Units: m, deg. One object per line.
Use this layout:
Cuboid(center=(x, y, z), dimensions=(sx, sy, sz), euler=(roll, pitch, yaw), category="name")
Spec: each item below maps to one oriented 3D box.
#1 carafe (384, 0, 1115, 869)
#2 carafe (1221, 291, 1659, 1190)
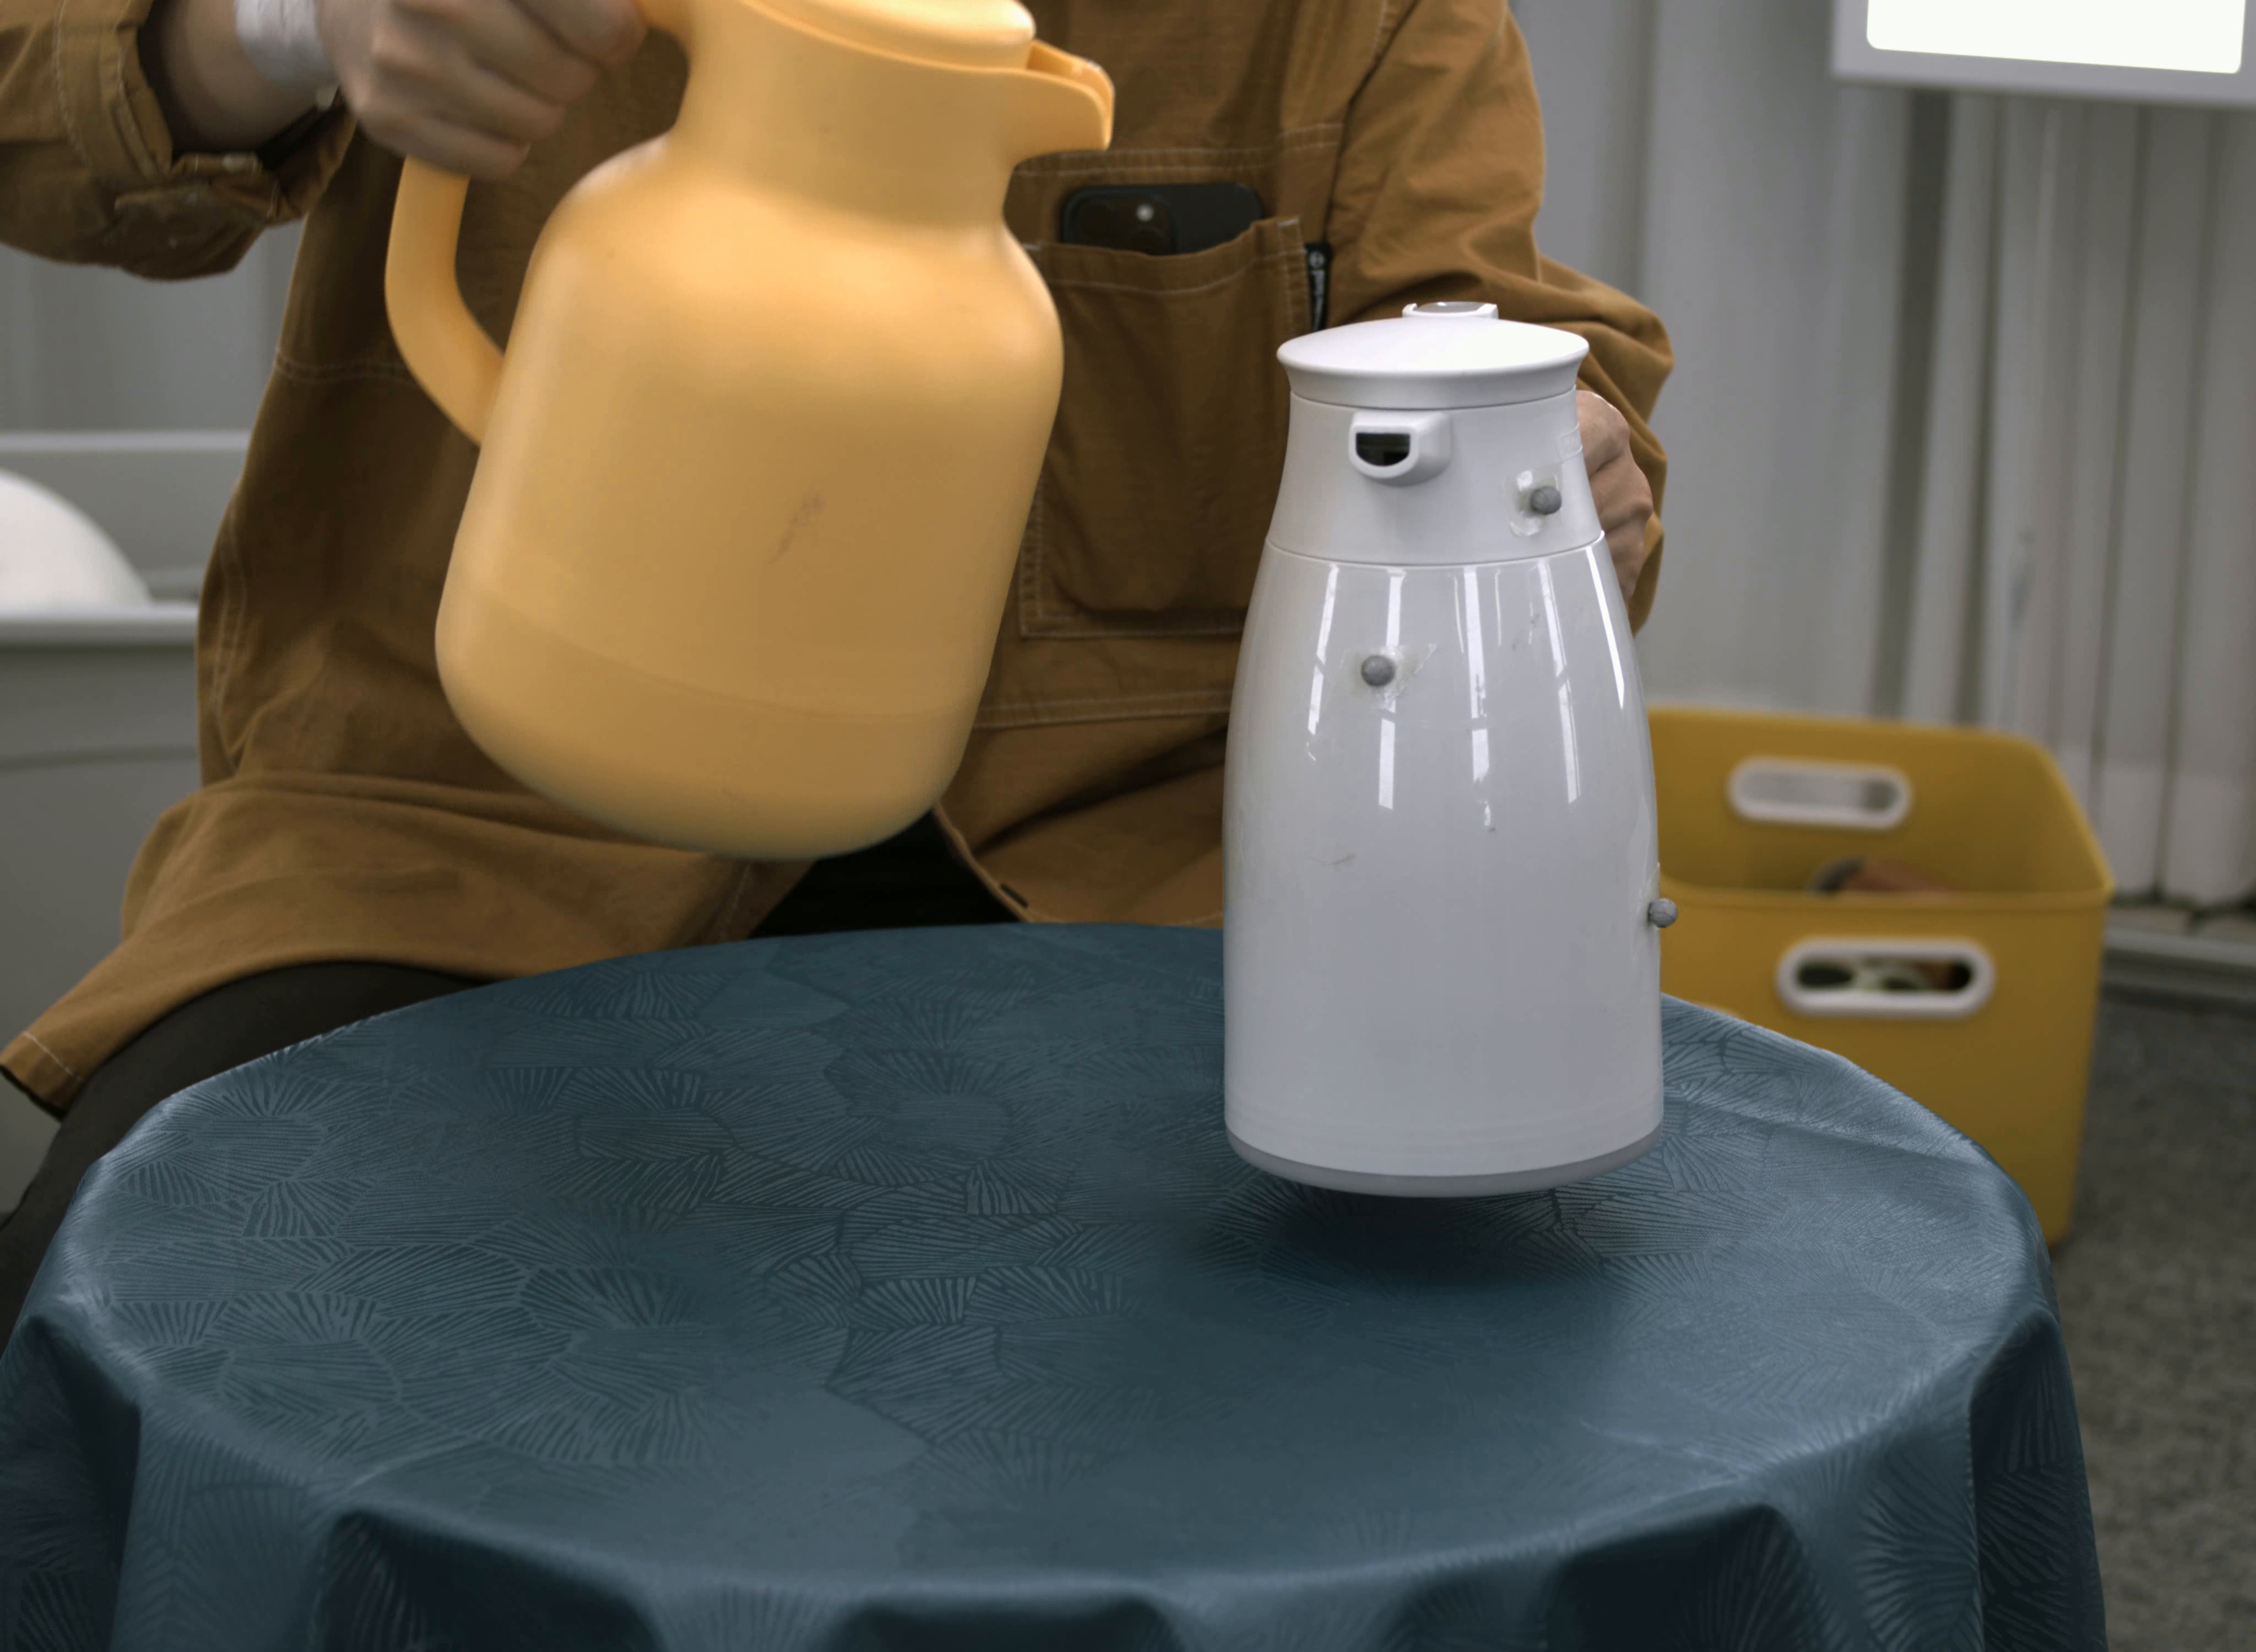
Cuboid(center=(-0.120, -0.134, 1.536), dimensions=(0.202, 0.262, 0.163), euler=(18, 18, 2), category="carafe")
Cuboid(center=(0.096, -0.034, 1.578), dimensions=(0.131, 0.250, 0.168), euler=(2, 14, 15), category="carafe")
